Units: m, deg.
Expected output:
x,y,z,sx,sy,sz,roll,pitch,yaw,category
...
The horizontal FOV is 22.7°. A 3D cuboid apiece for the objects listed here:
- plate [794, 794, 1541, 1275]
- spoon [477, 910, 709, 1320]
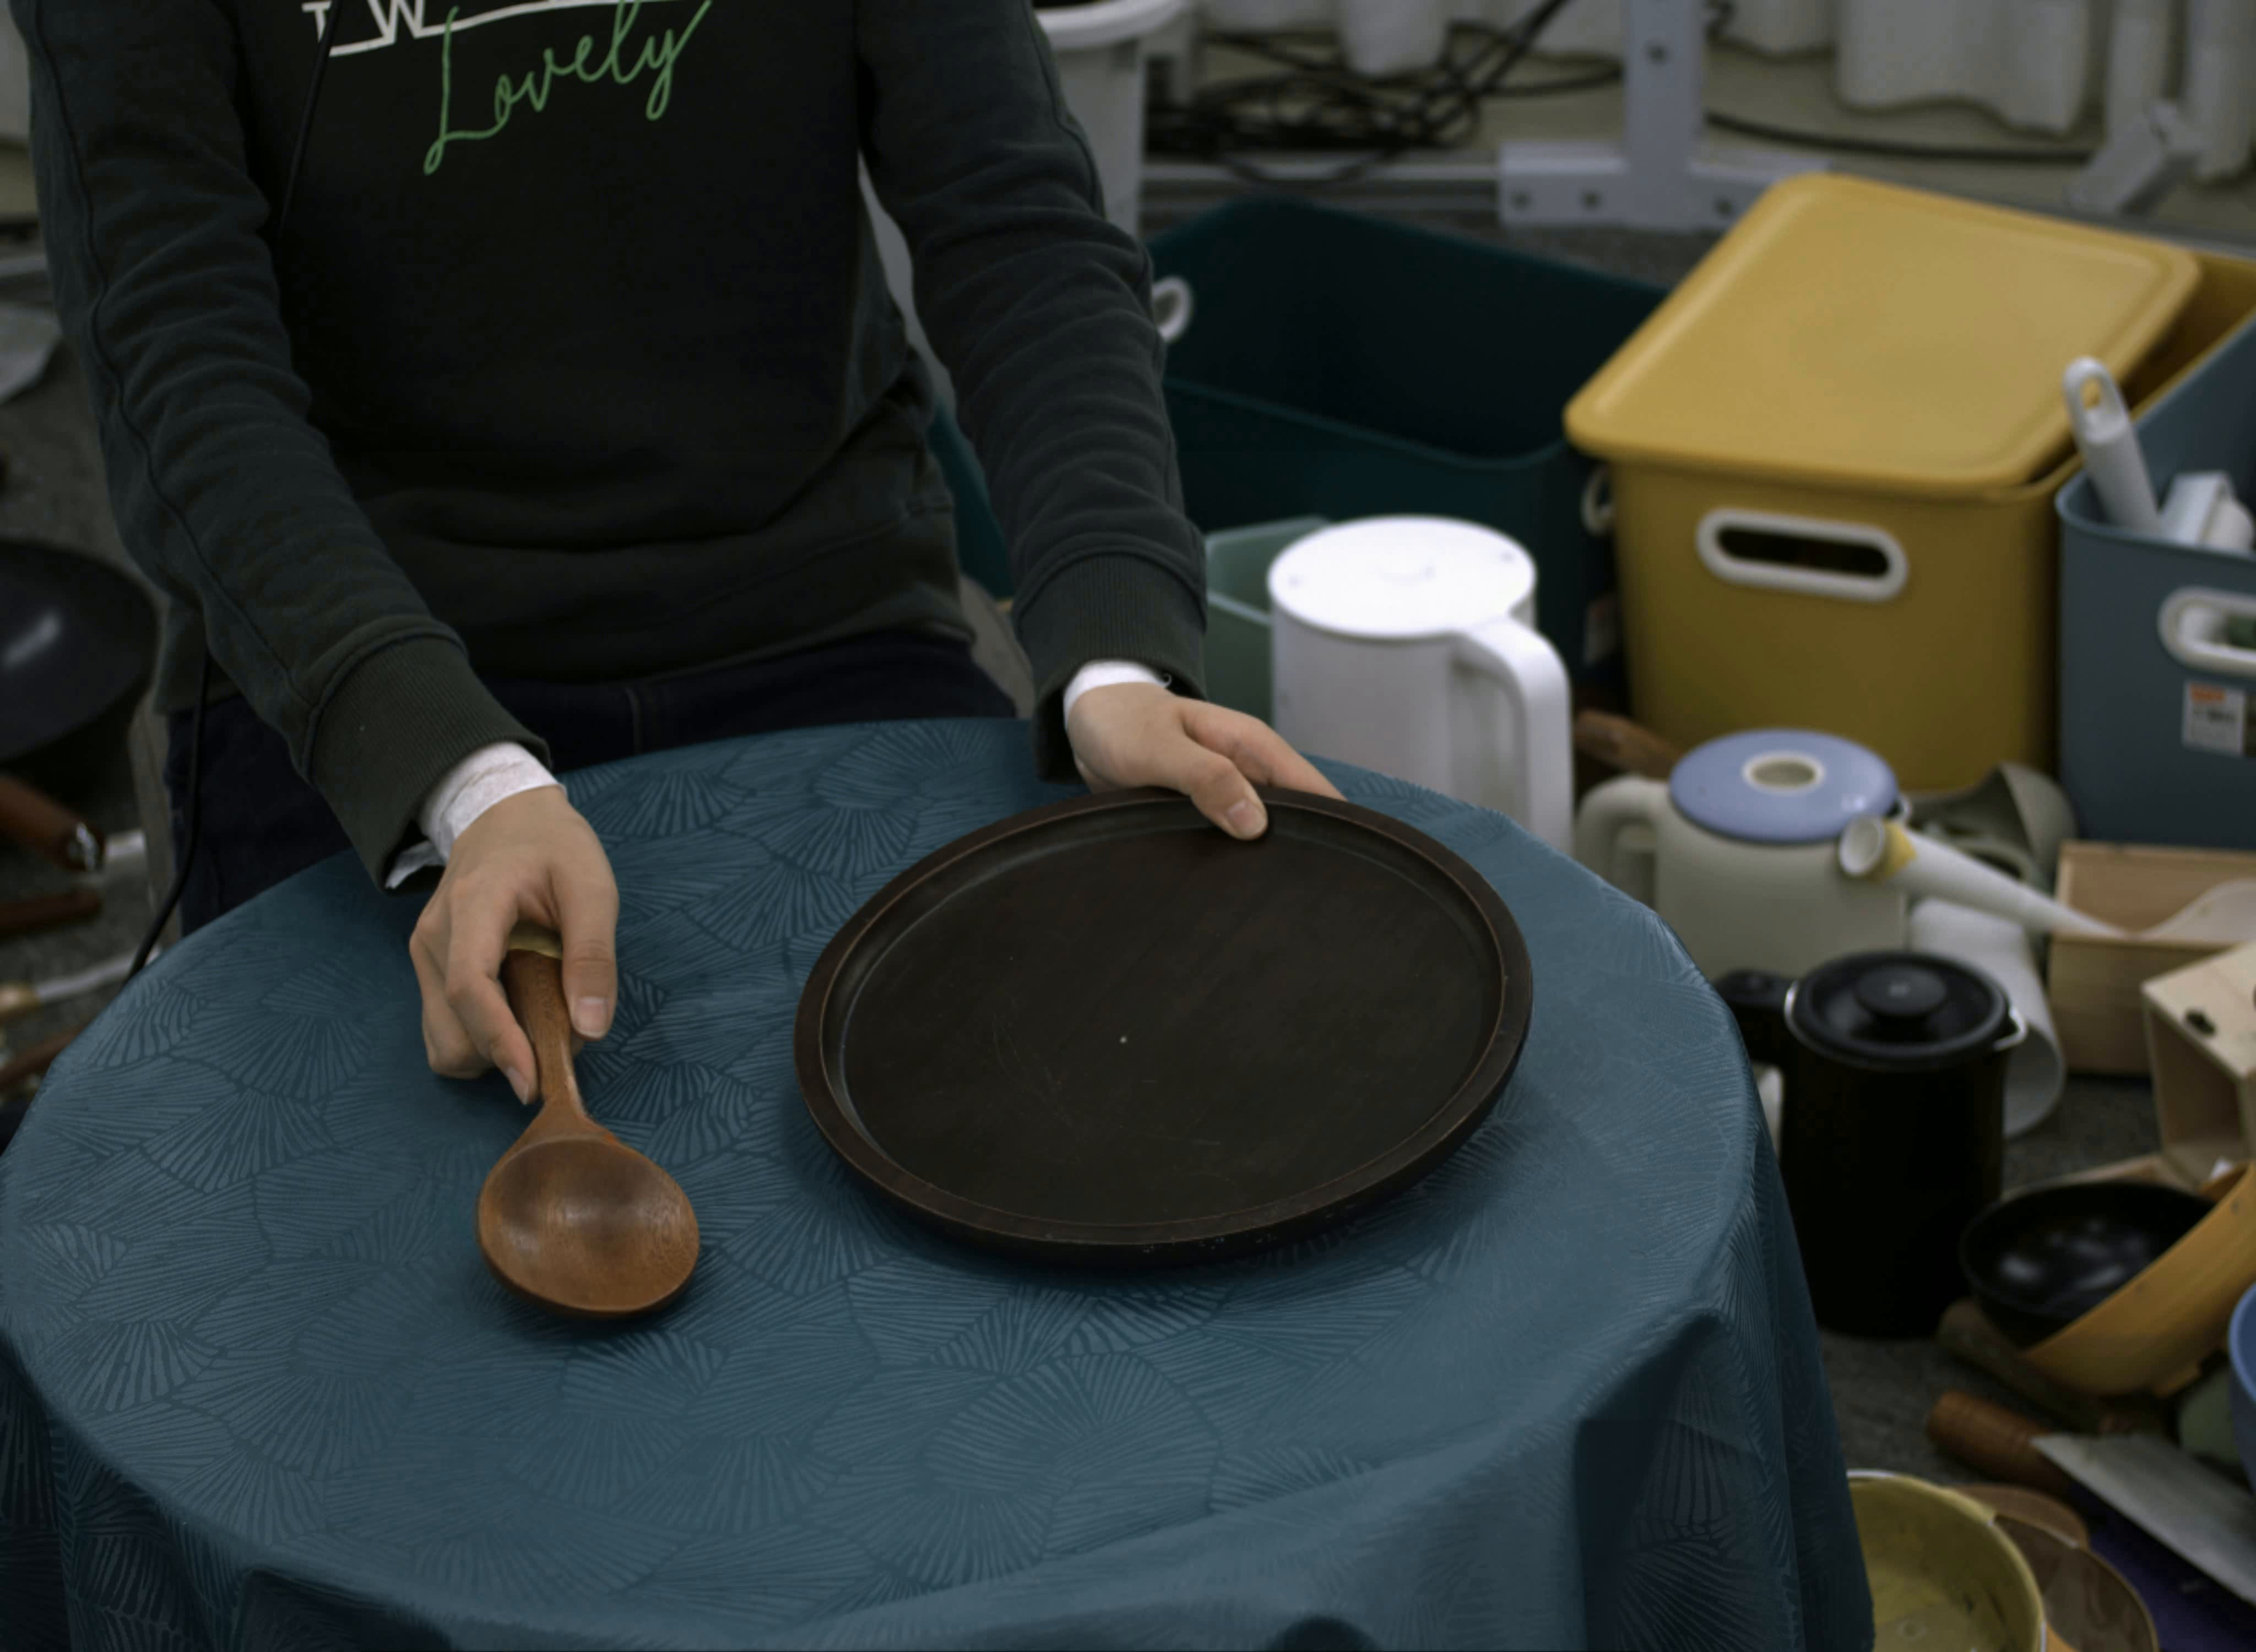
x,y,z,sx,sy,sz,roll,pitch,yaw,category
0.013,0.068,1.904,0.253,0.028,0.259,-3,36,3,plate
-0.188,0.097,1.877,0.075,0.017,0.219,1,35,-15,spoon
